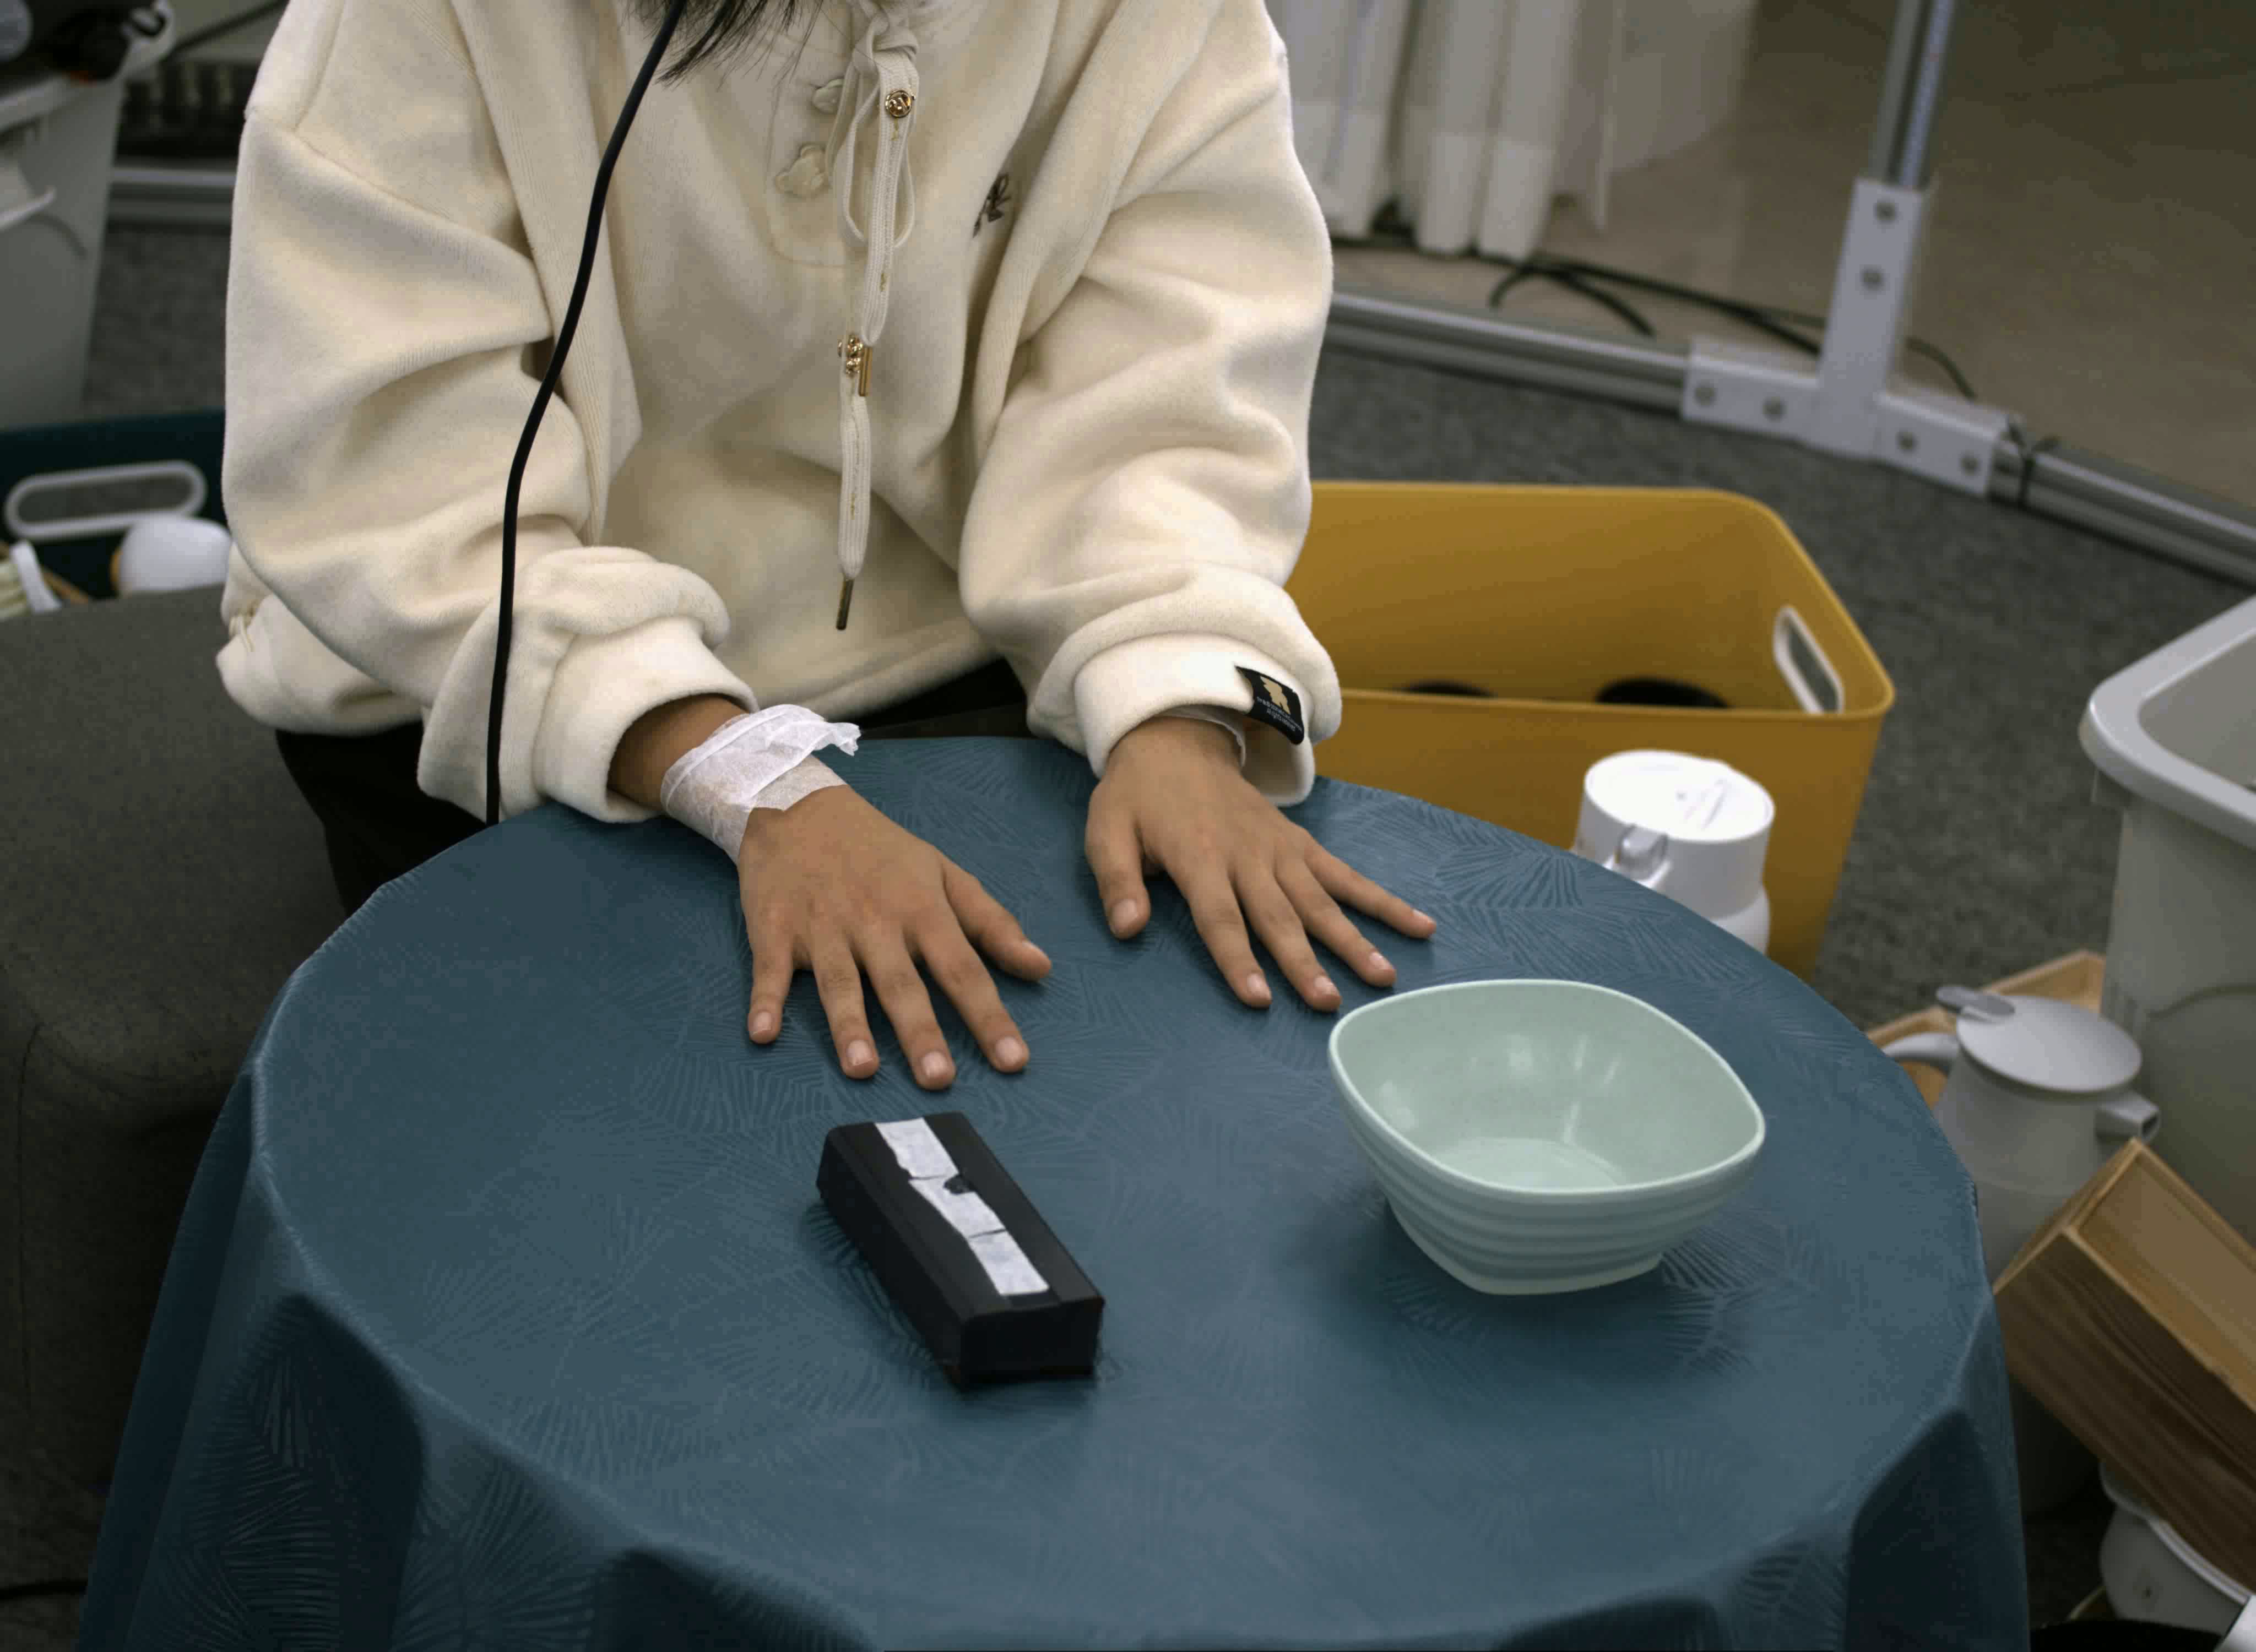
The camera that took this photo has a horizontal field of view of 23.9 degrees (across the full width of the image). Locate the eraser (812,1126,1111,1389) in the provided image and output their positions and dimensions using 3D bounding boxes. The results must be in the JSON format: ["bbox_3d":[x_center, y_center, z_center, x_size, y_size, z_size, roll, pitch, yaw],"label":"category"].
[{"bbox_3d":[-0.055,0.139,1.730,0.053,0.030,0.126,-5,27,-26],"label":"eraser"}]

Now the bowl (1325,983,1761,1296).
[{"bbox_3d":[0.135,0.112,1.794,0.151,0.058,0.152,8,26,-4],"label":"bowl"}]
